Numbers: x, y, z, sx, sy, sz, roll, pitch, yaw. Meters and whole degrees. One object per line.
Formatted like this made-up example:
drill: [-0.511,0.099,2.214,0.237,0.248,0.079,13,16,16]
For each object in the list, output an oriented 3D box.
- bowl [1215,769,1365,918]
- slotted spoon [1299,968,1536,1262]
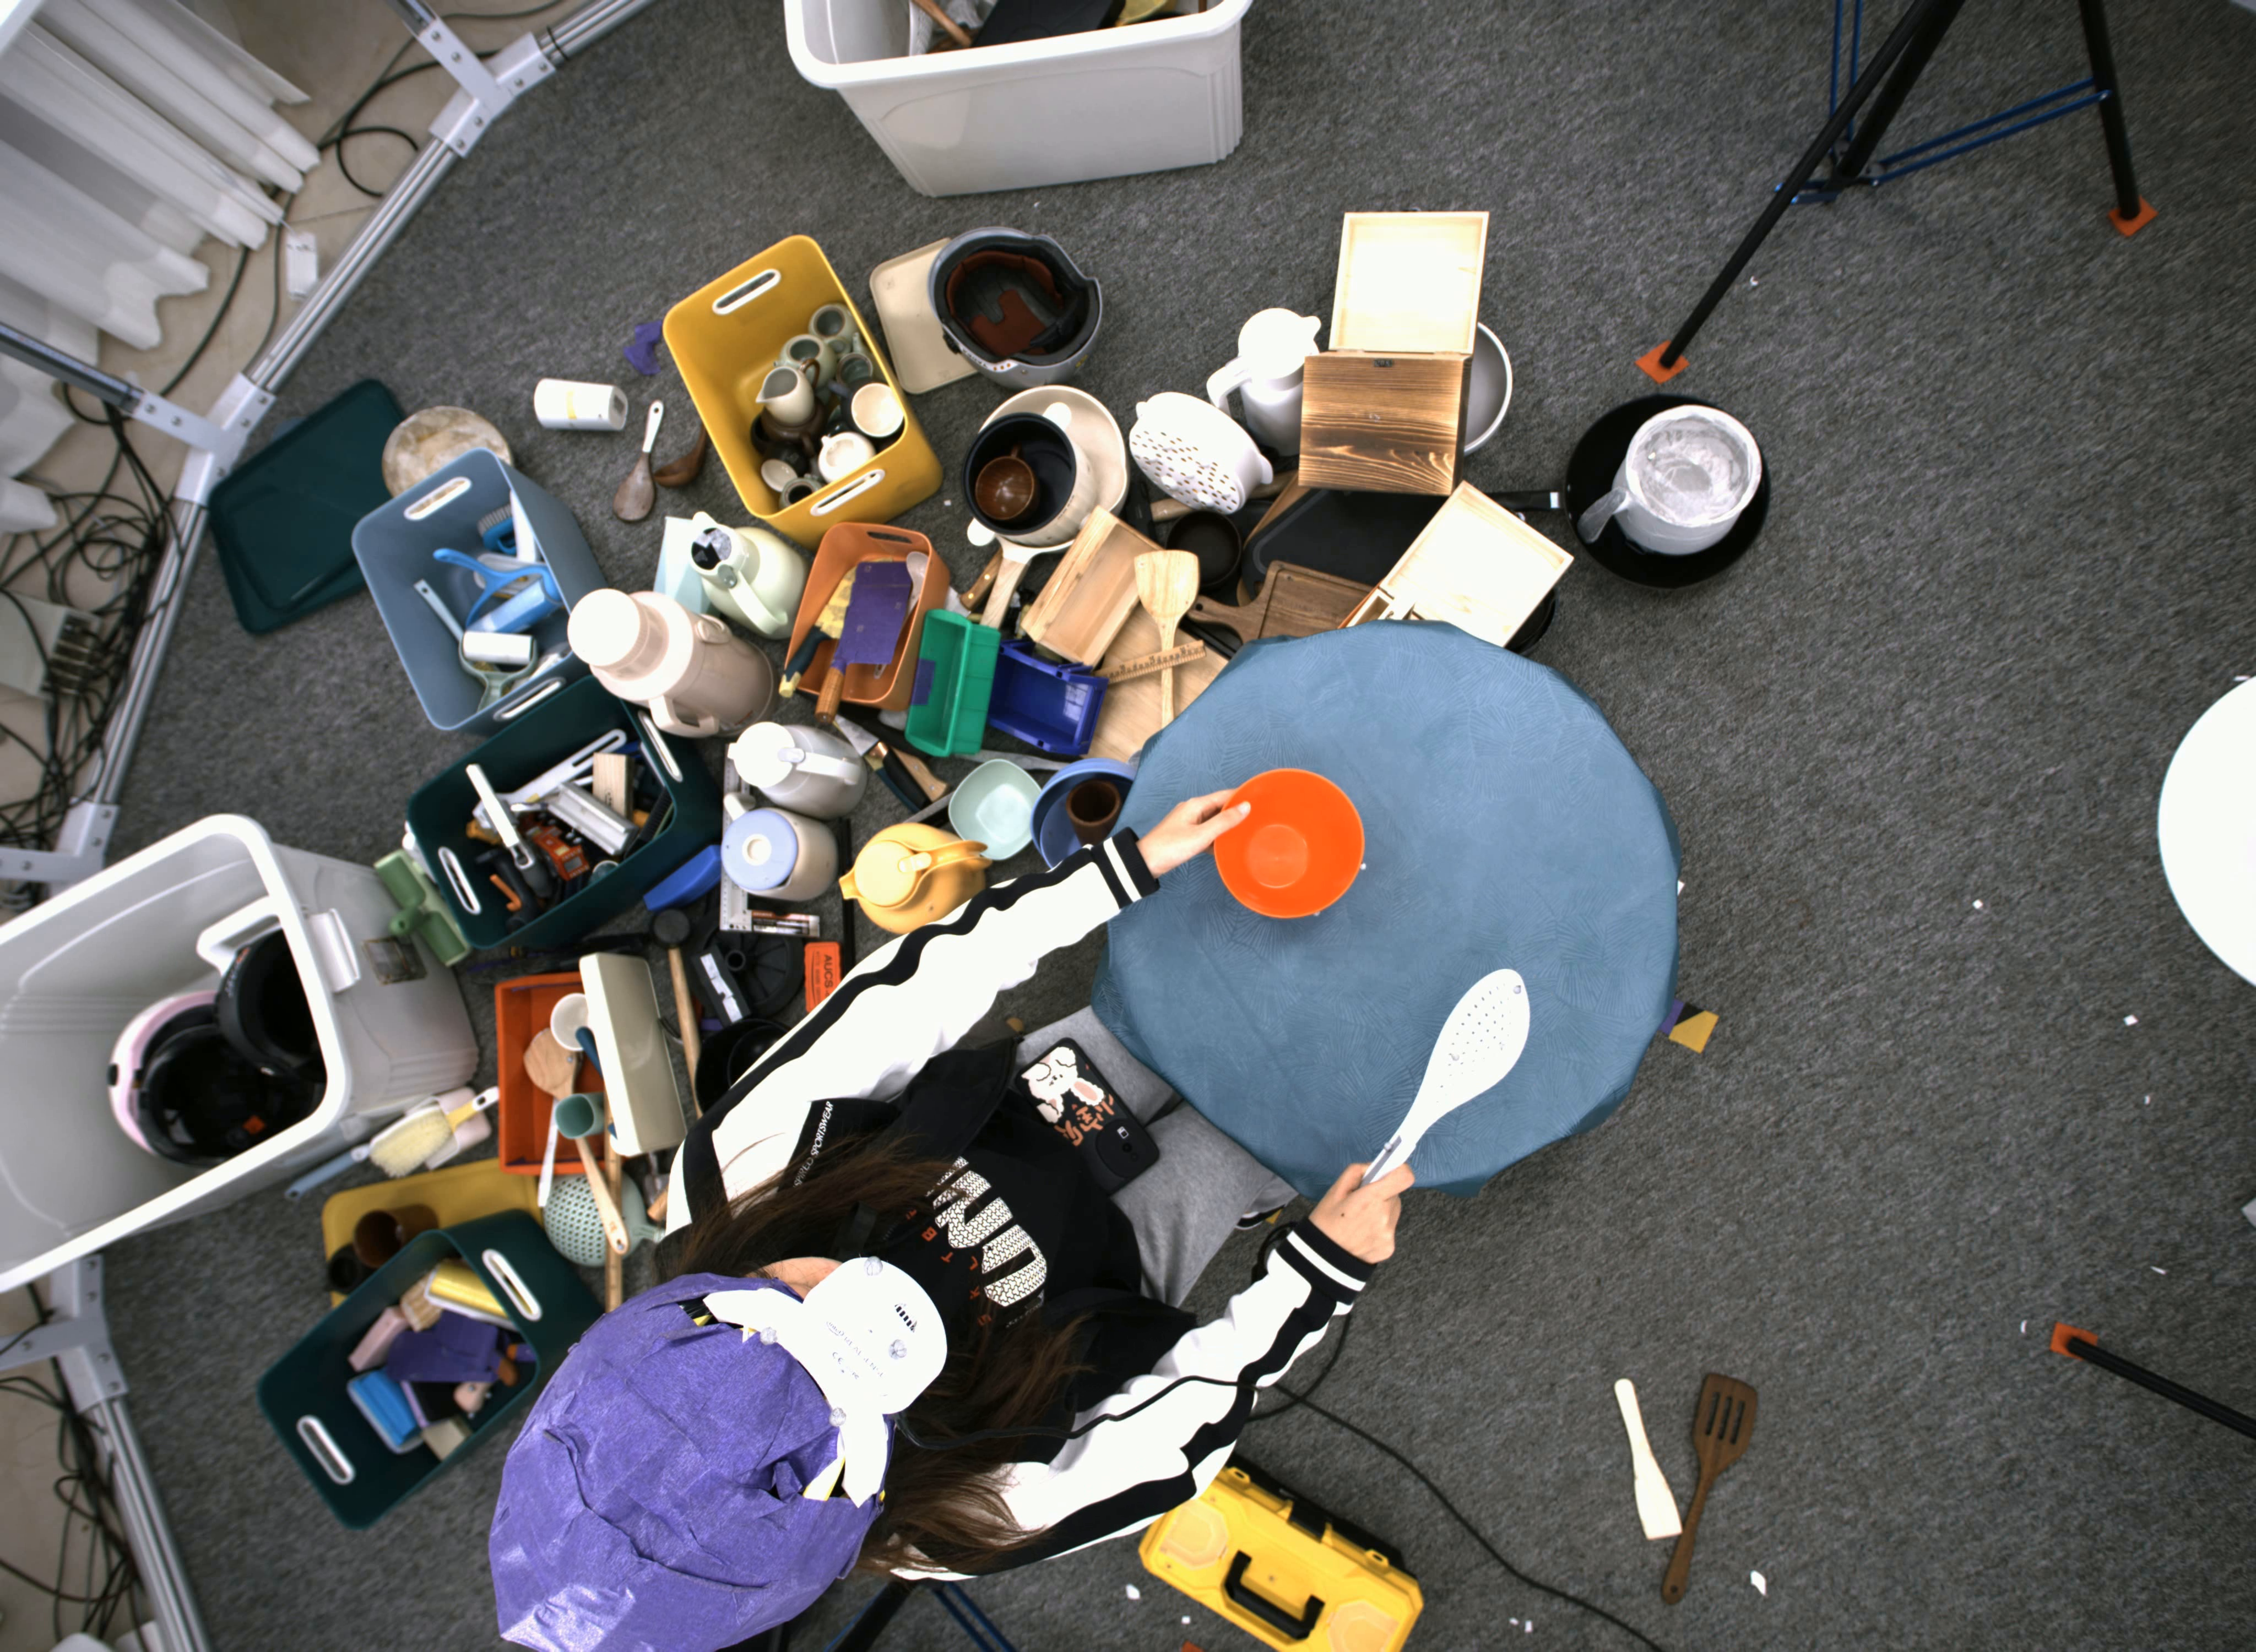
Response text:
bowl: [0.158,0.019,1.401,0.148,0.104,0.148,0,91,0]
slotted spoon: [0.271,0.281,1.312,0.046,0.133,0.354,33,106,-20]
